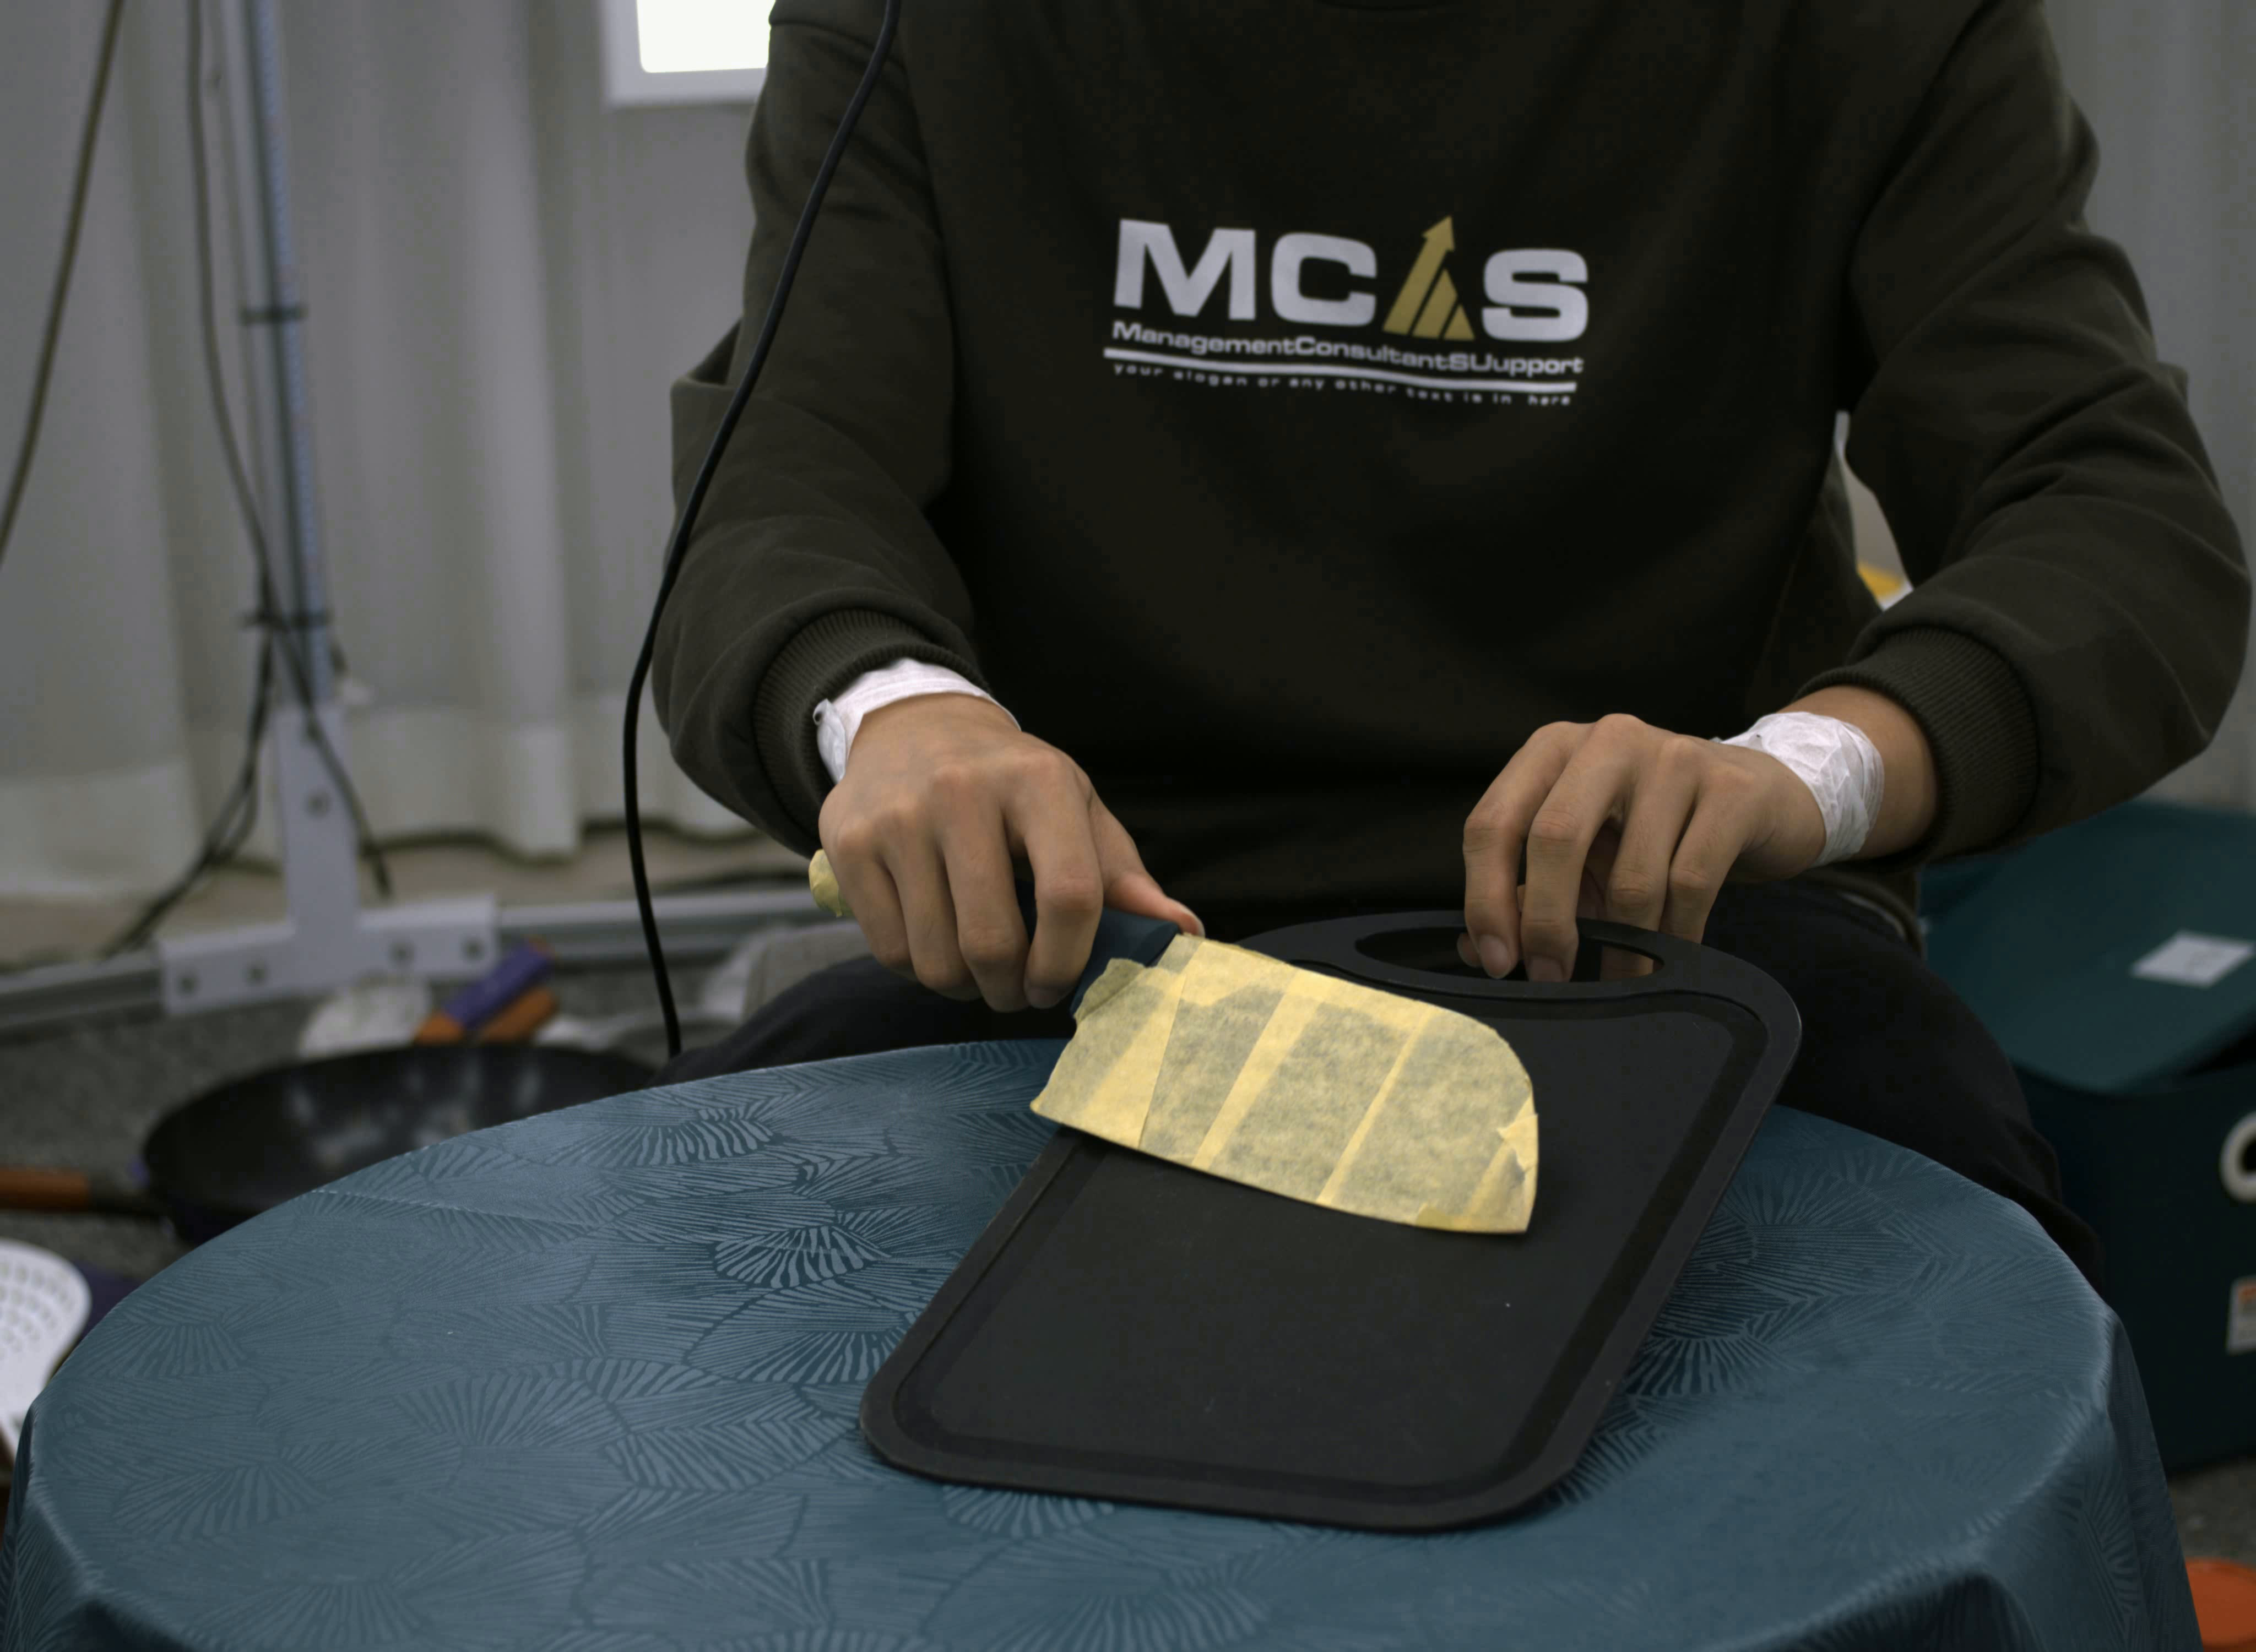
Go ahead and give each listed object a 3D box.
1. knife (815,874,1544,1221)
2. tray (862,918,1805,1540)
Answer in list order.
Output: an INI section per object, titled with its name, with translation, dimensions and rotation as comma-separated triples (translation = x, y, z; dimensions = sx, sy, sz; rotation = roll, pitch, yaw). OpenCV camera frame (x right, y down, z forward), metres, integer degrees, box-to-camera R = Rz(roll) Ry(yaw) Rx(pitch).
[knife]
translation = 0.008, 0.064, 1.648
dimensions = 0.291, 0.027, 0.081
rotation = 17, 62, 38
[tray]
translation = 0.067, 0.105, 1.588
dimensions = 0.211, 0.010, 0.328
rotation = 4, 29, 23
